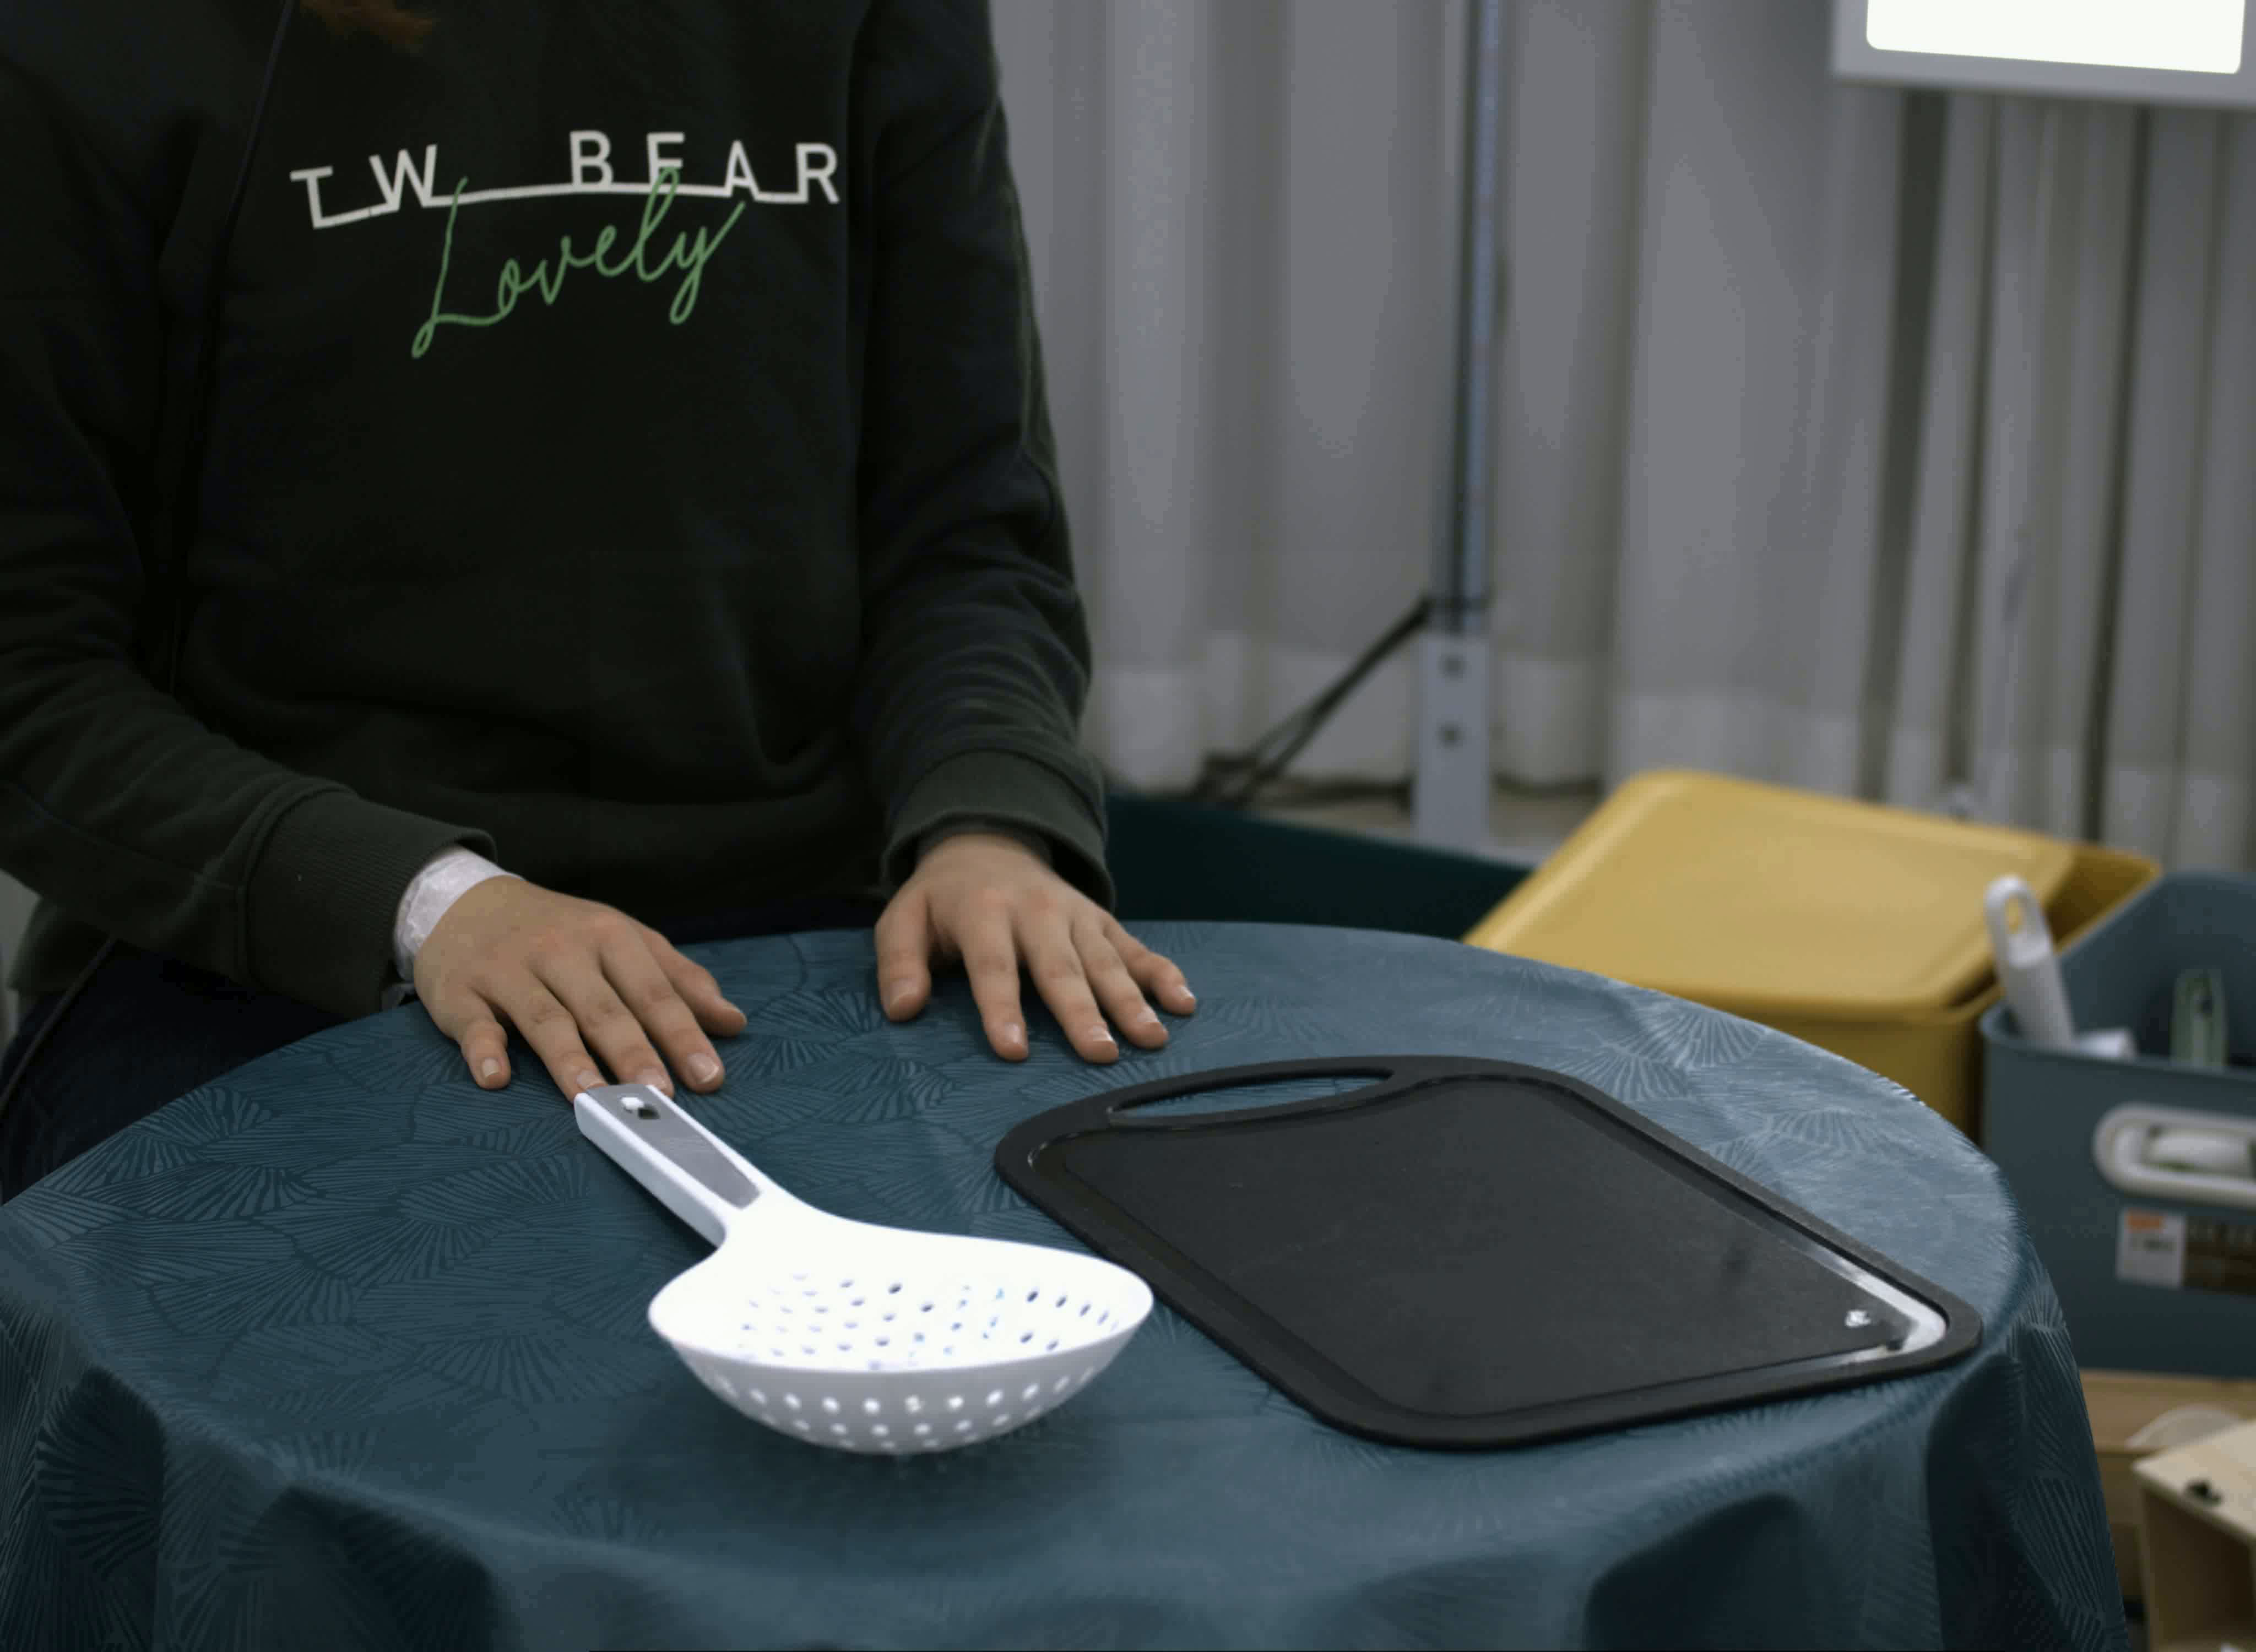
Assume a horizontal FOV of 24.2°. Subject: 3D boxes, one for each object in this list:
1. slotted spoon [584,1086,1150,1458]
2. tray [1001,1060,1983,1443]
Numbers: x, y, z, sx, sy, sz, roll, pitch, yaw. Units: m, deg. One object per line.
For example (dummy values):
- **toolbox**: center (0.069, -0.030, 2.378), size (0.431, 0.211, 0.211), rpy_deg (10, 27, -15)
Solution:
- **slotted spoon**: center (-0.100, 0.119, 1.517), size (0.136, 0.046, 0.346), rpy_deg (-3, 15, -21)
- **tray**: center (0.098, 0.120, 1.590), size (0.212, 0.010, 0.321), rpy_deg (-6, 17, -24)
